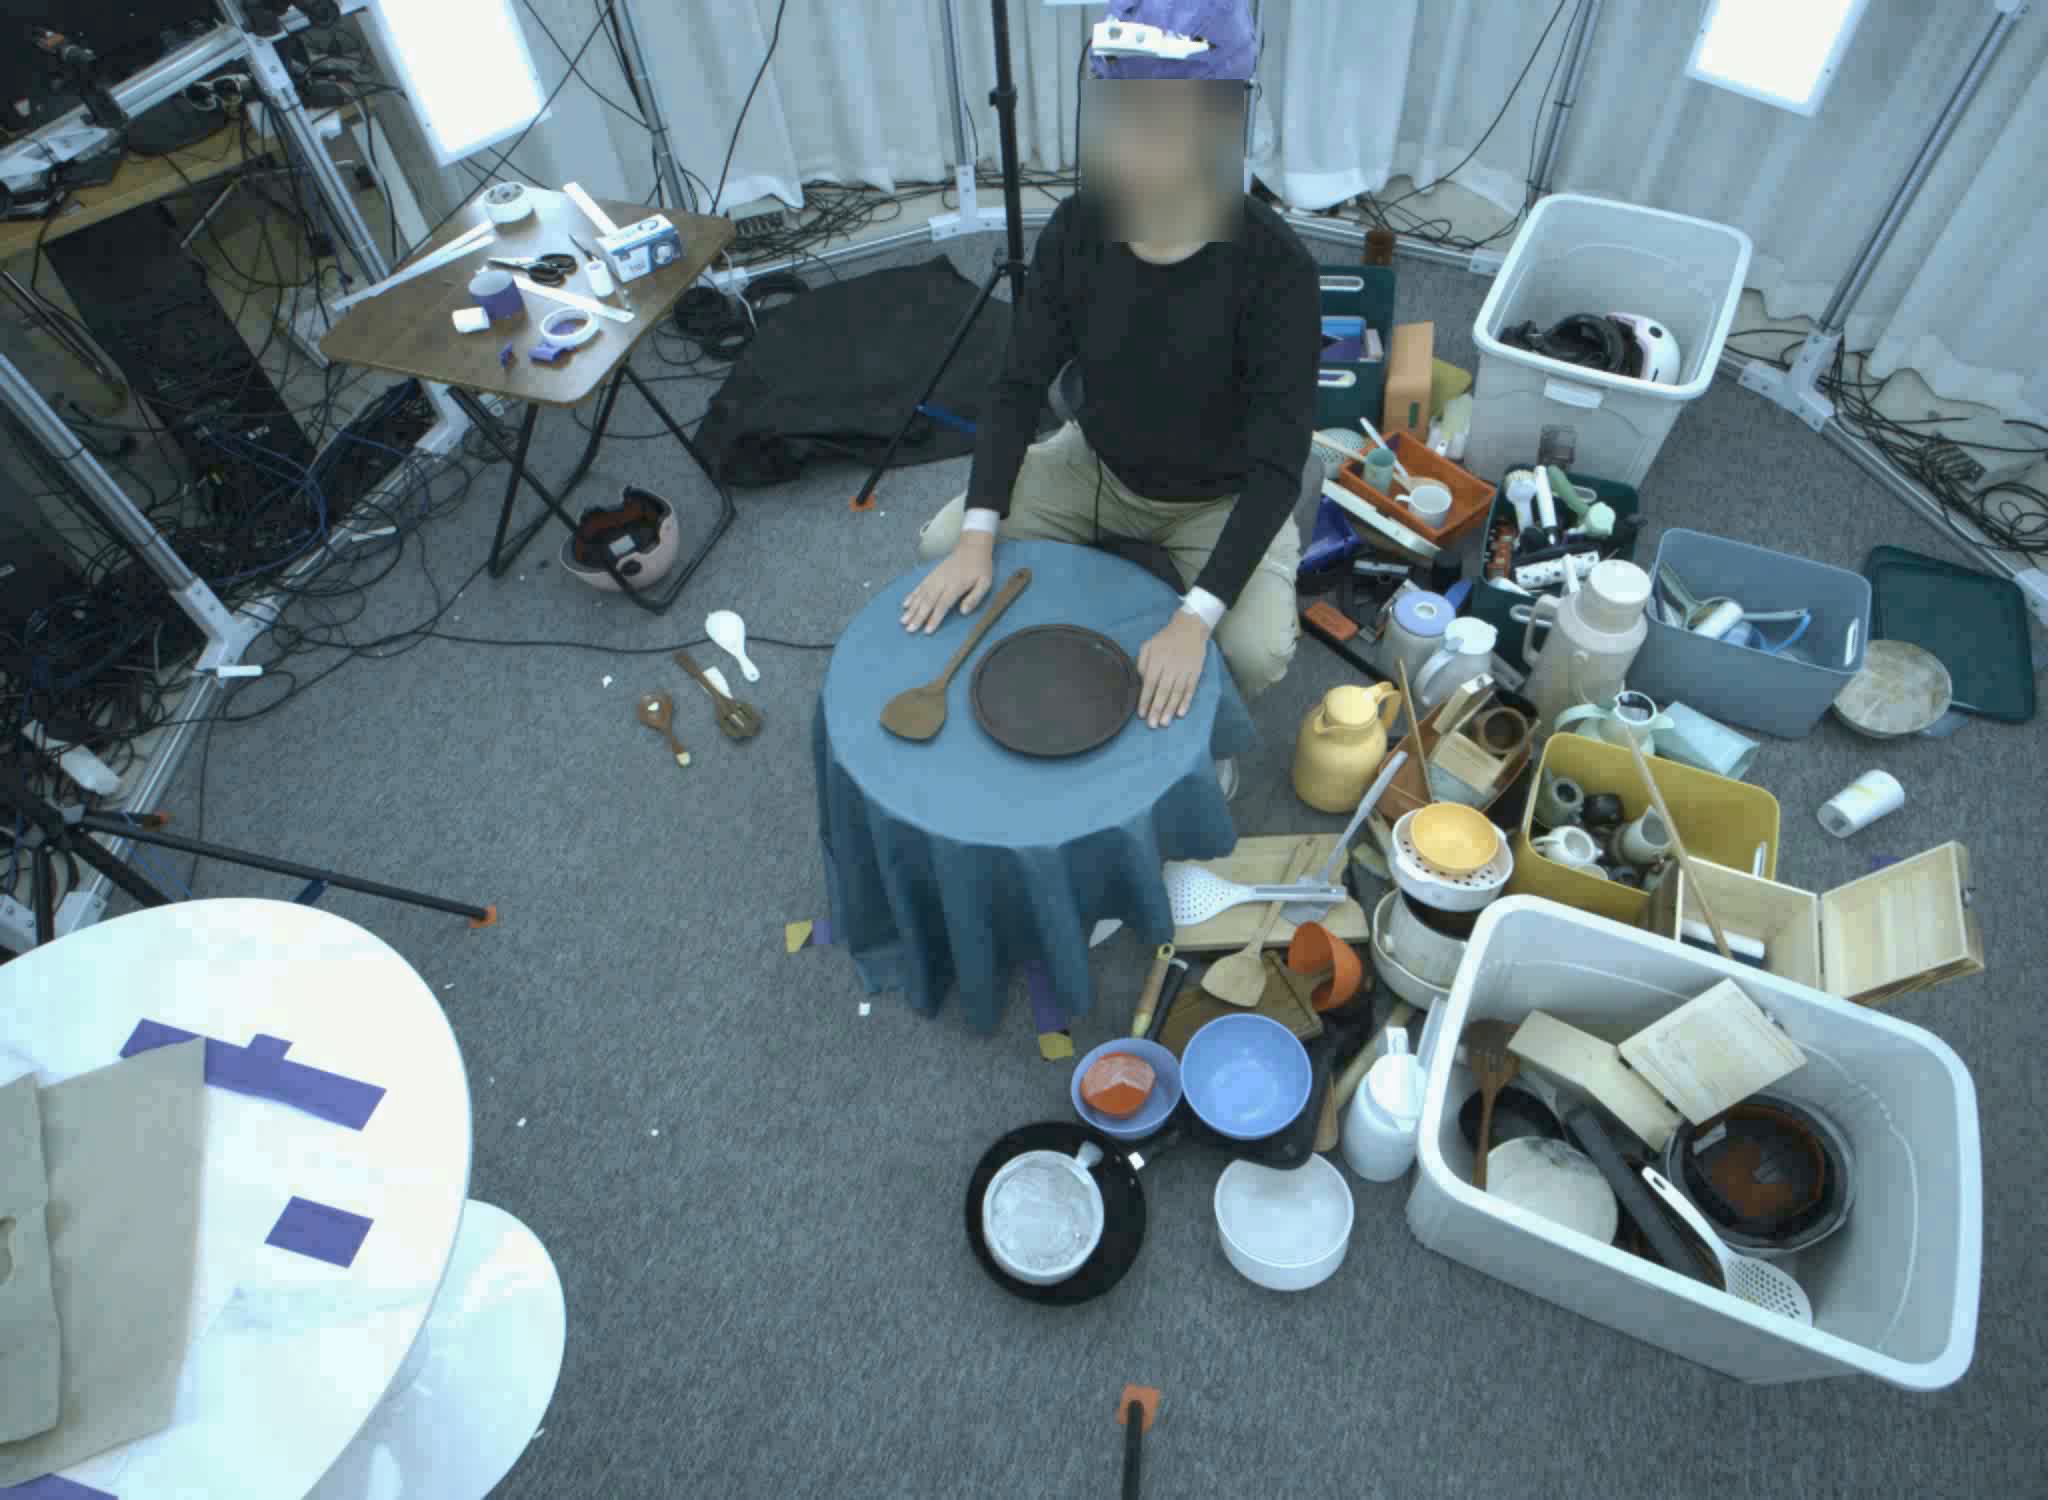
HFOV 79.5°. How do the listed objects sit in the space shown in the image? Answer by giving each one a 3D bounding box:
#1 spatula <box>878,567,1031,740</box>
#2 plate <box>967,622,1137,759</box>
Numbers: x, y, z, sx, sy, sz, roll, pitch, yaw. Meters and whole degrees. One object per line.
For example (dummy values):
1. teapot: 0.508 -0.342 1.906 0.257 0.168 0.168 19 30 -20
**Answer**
1. spatula: -0.091 -0.160 1.895 0.095 0.016 0.387 24 59 17
2. plate: 0.042 -0.090 1.837 0.254 0.029 0.252 -1 56 2
